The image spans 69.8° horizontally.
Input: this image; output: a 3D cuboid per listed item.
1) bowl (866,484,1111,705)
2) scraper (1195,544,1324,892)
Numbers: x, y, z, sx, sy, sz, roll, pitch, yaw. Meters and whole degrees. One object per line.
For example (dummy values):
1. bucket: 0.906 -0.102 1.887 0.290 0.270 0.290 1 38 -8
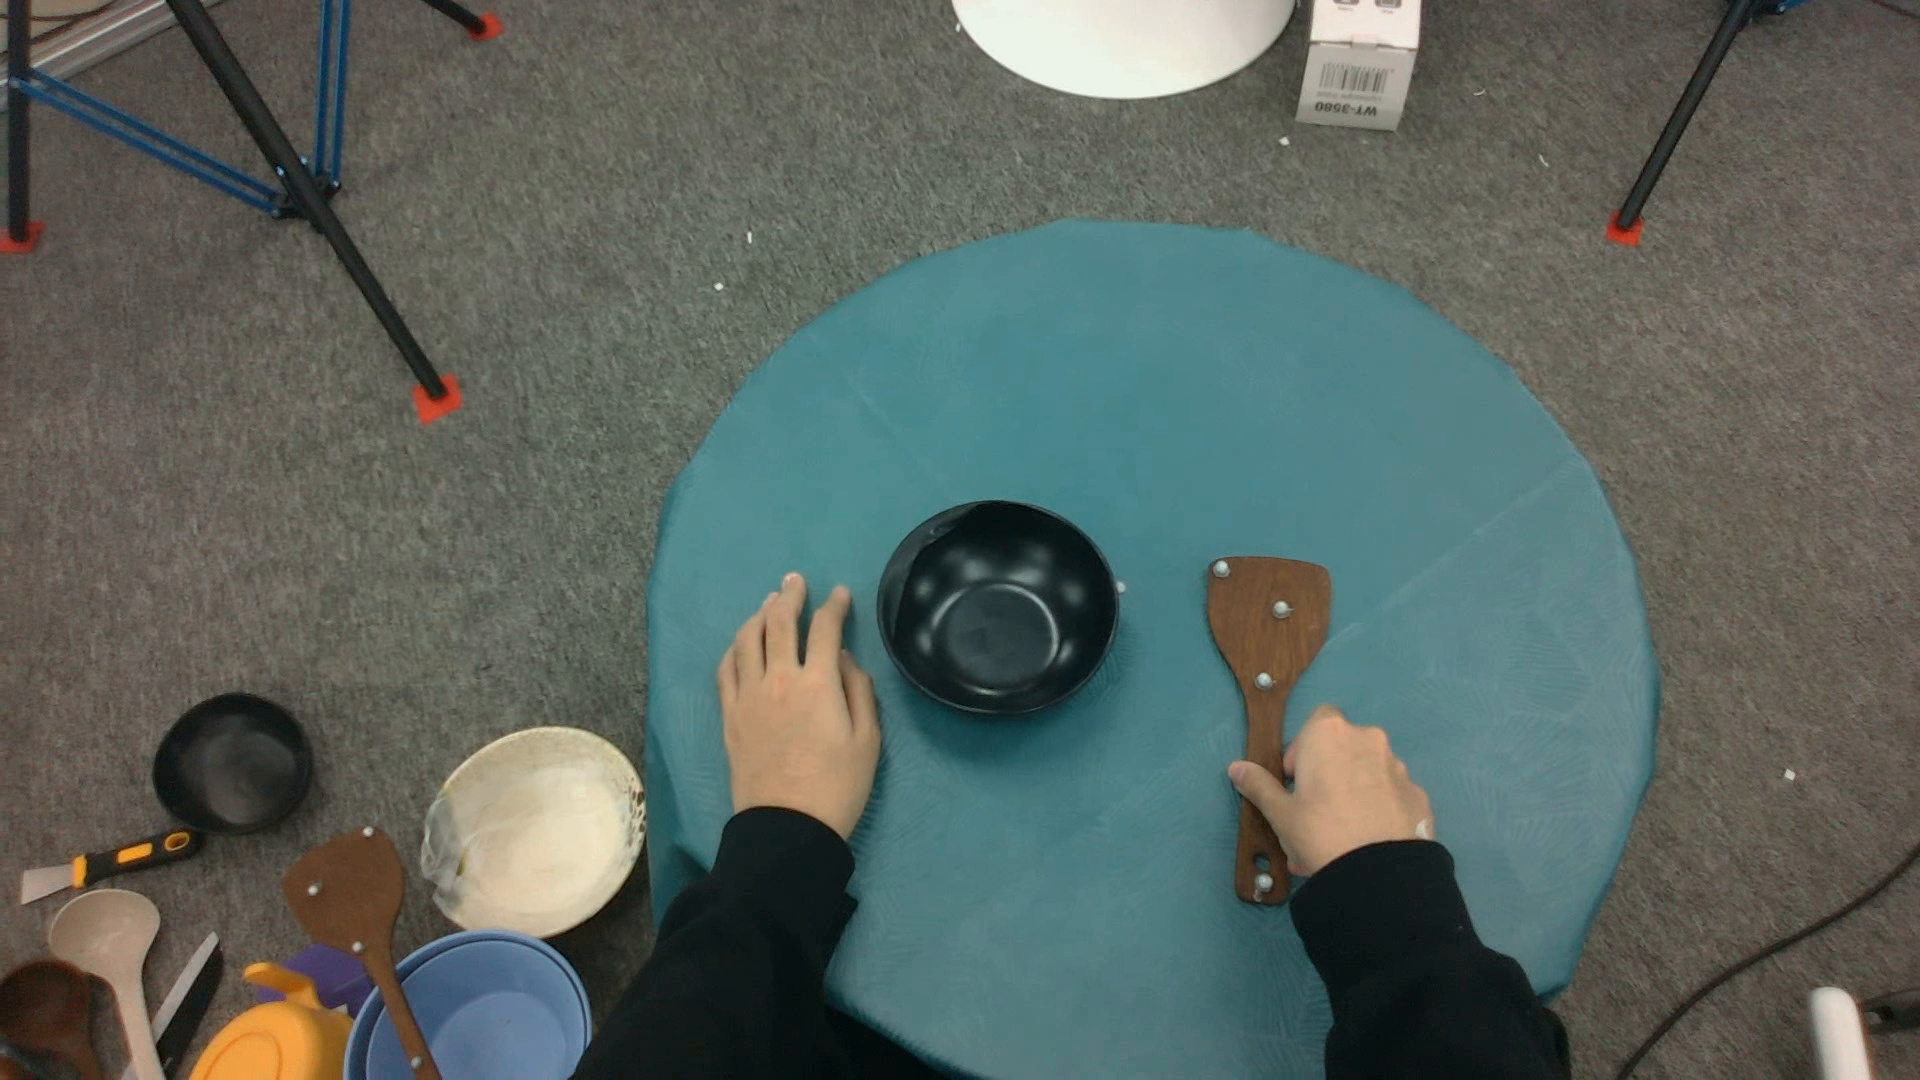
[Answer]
1. bowl: 0.015 0.038 0.796 0.140 0.049 0.140 1 59 -2
2. scraper: 0.168 0.096 0.784 0.076 0.011 0.212 6 60 7
